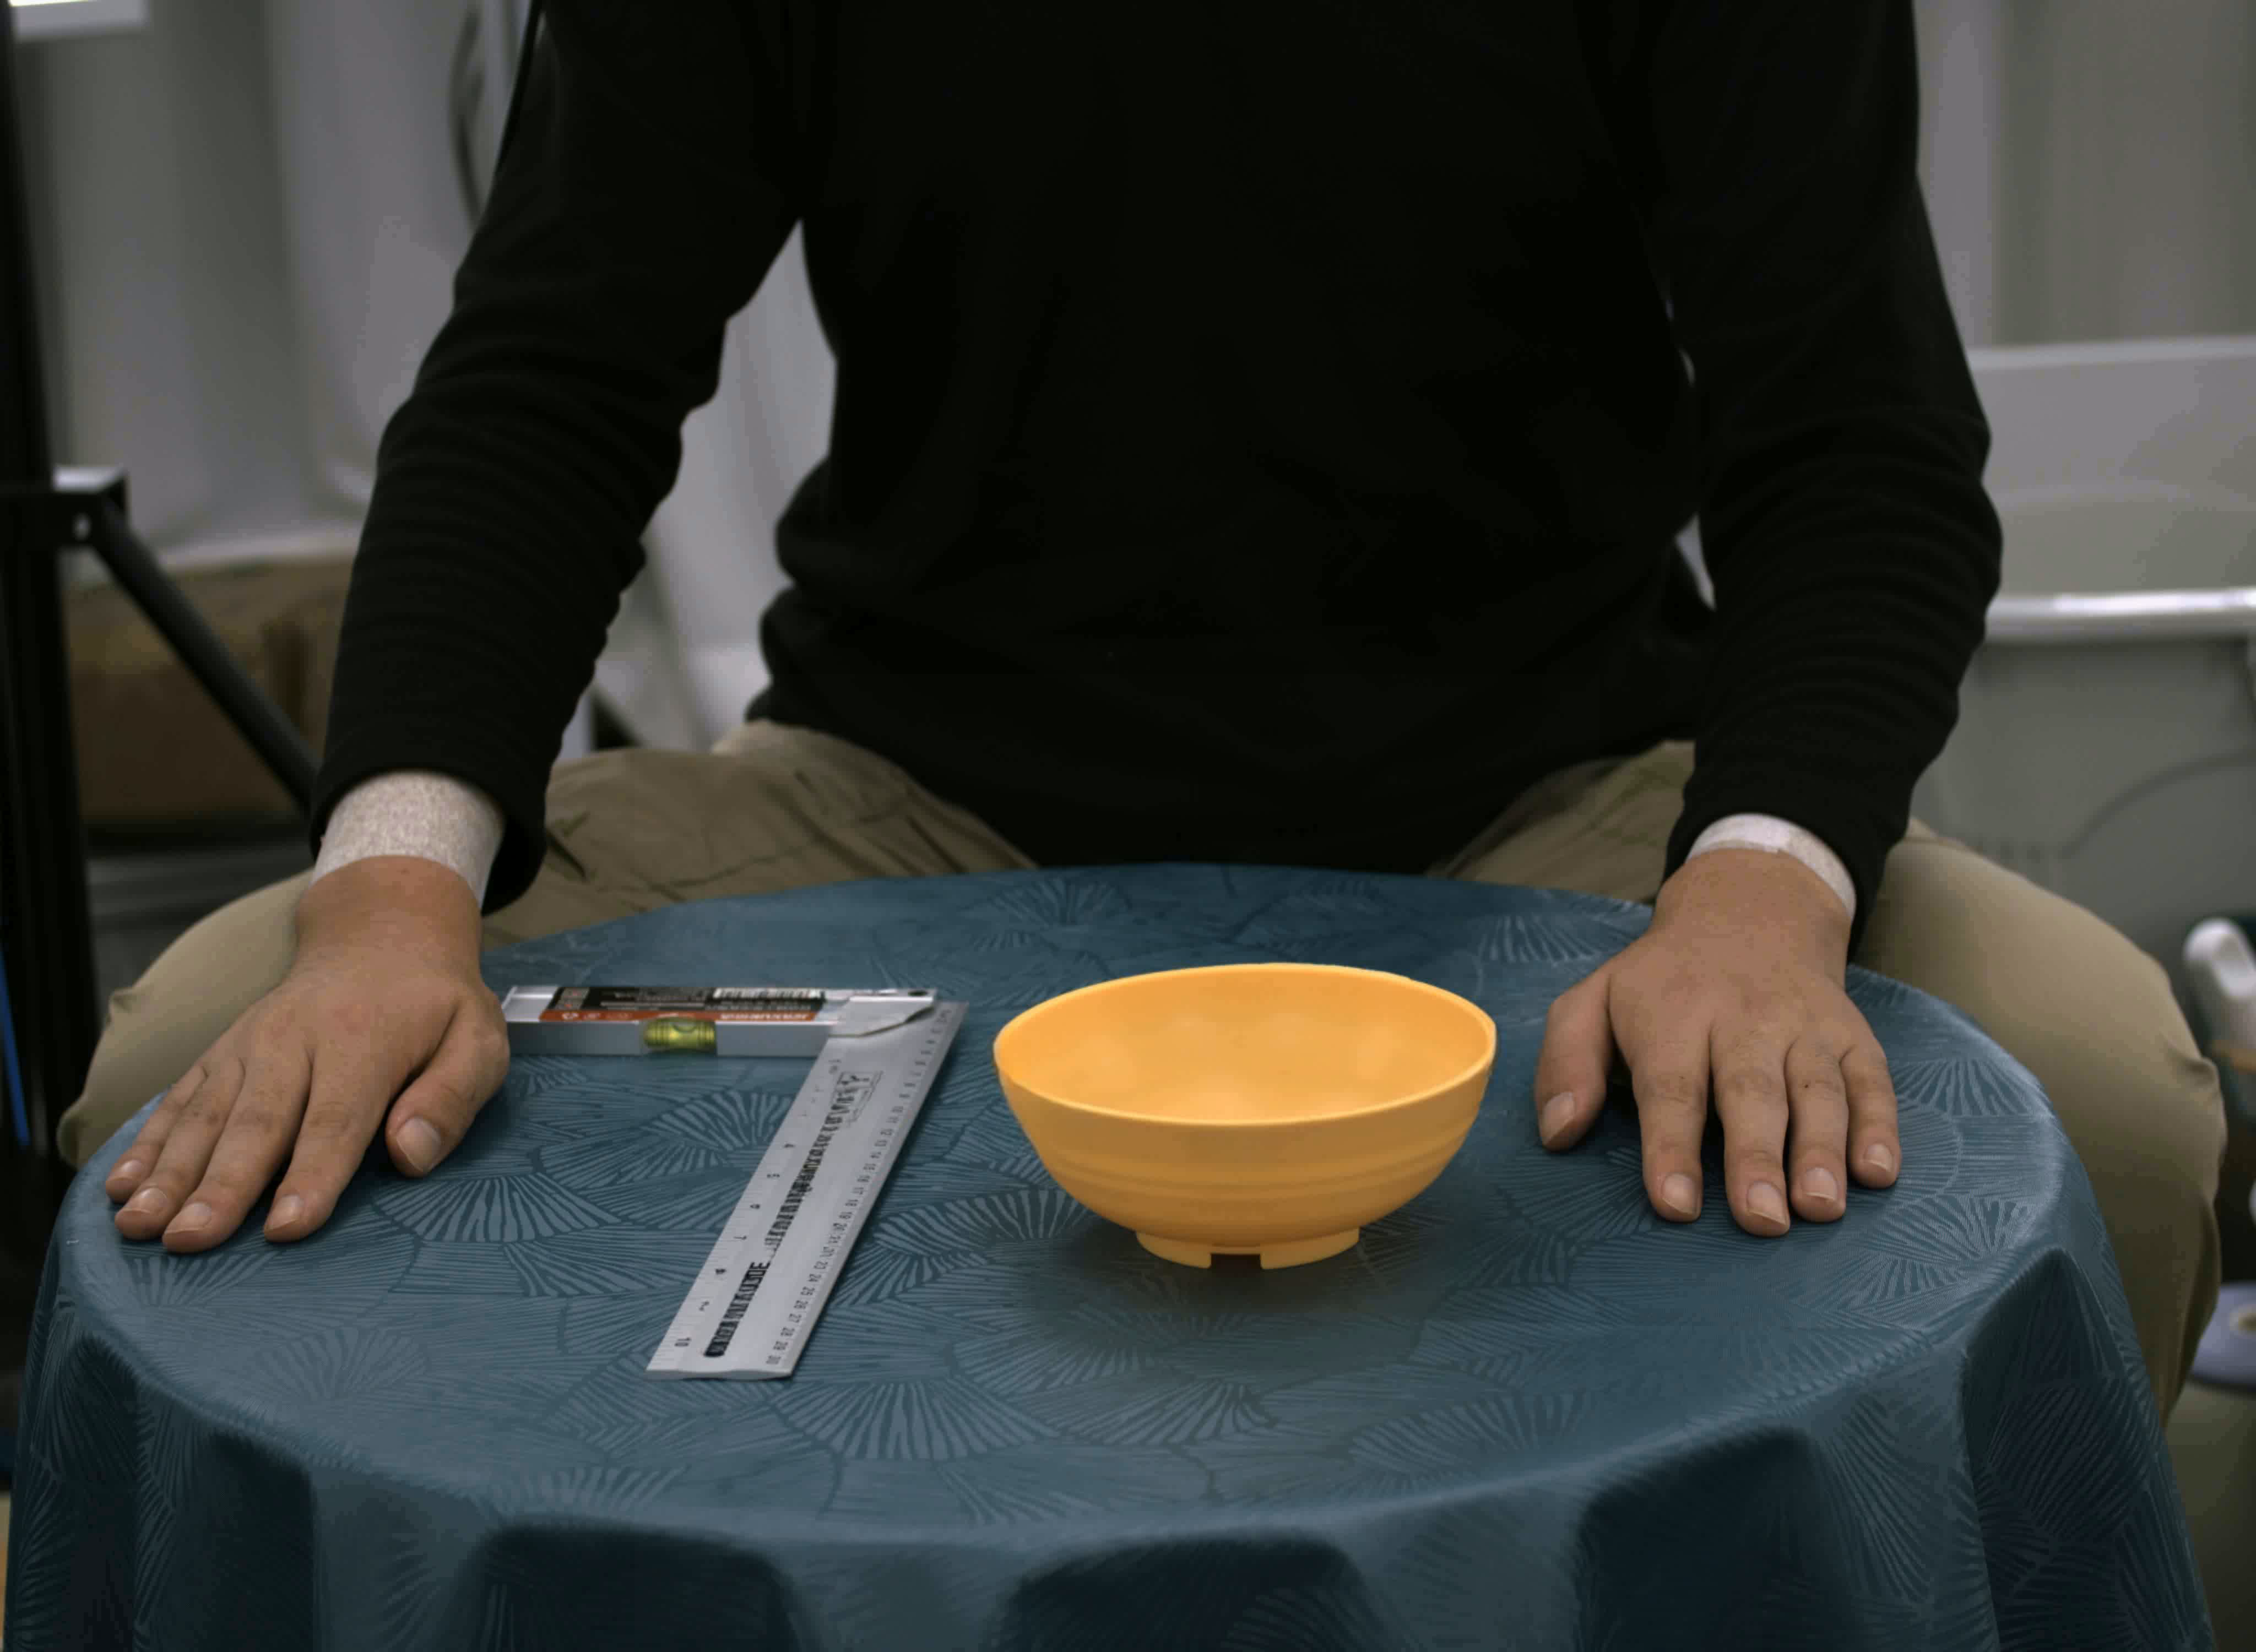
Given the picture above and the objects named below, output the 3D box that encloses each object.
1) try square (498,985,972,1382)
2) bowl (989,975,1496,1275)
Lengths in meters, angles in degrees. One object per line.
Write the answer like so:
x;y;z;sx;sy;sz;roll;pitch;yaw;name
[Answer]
-0.143;0.105;1.587;0.153;0.016;0.312;-4;16;9;try square
0.032;0.090;1.514;0.144;0.060;0.146;0;14;-1;bowl
